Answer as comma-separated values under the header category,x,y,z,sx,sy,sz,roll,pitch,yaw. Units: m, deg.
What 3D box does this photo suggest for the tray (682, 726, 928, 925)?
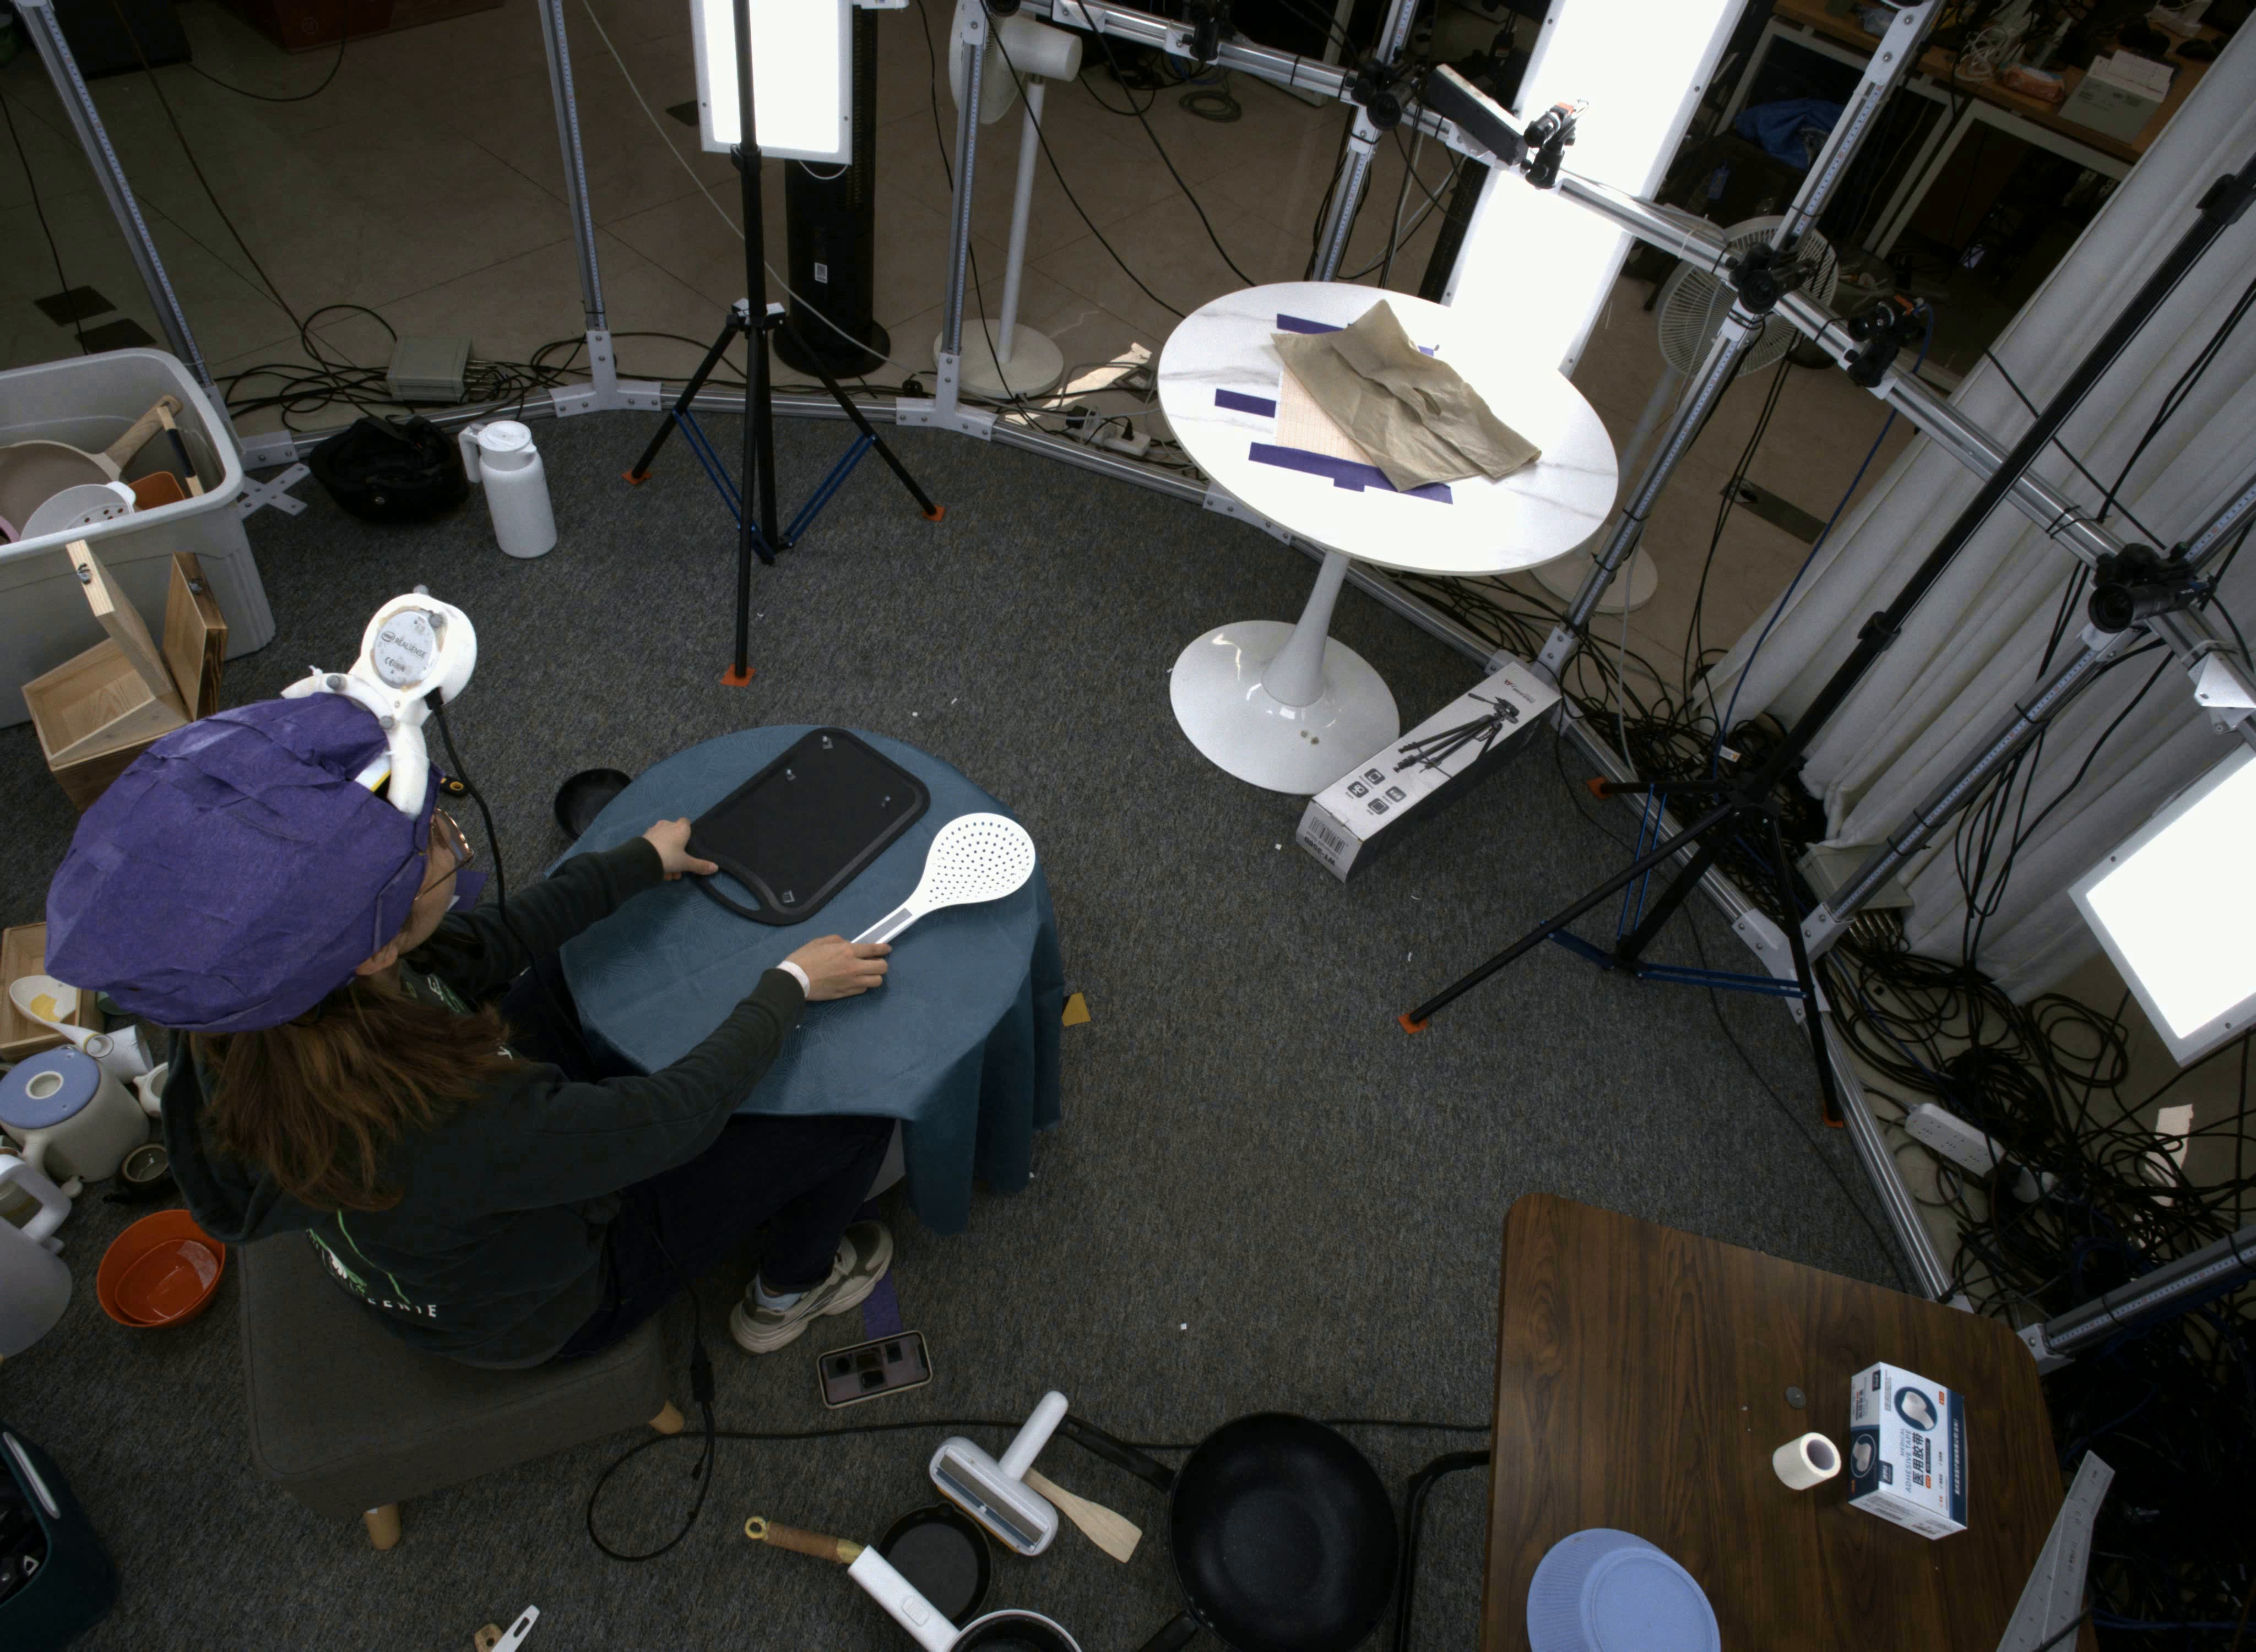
category,x,y,z,sx,sy,sz,roll,pitch,yaw
tray,-0.430,-0.005,1.724,0.207,0.010,0.325,34,53,11

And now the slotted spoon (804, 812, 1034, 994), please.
category,x,y,z,sx,sy,sz,roll,pitch,yaw
slotted spoon,-0.268,0.100,1.666,0.132,0.047,0.350,41,56,20
